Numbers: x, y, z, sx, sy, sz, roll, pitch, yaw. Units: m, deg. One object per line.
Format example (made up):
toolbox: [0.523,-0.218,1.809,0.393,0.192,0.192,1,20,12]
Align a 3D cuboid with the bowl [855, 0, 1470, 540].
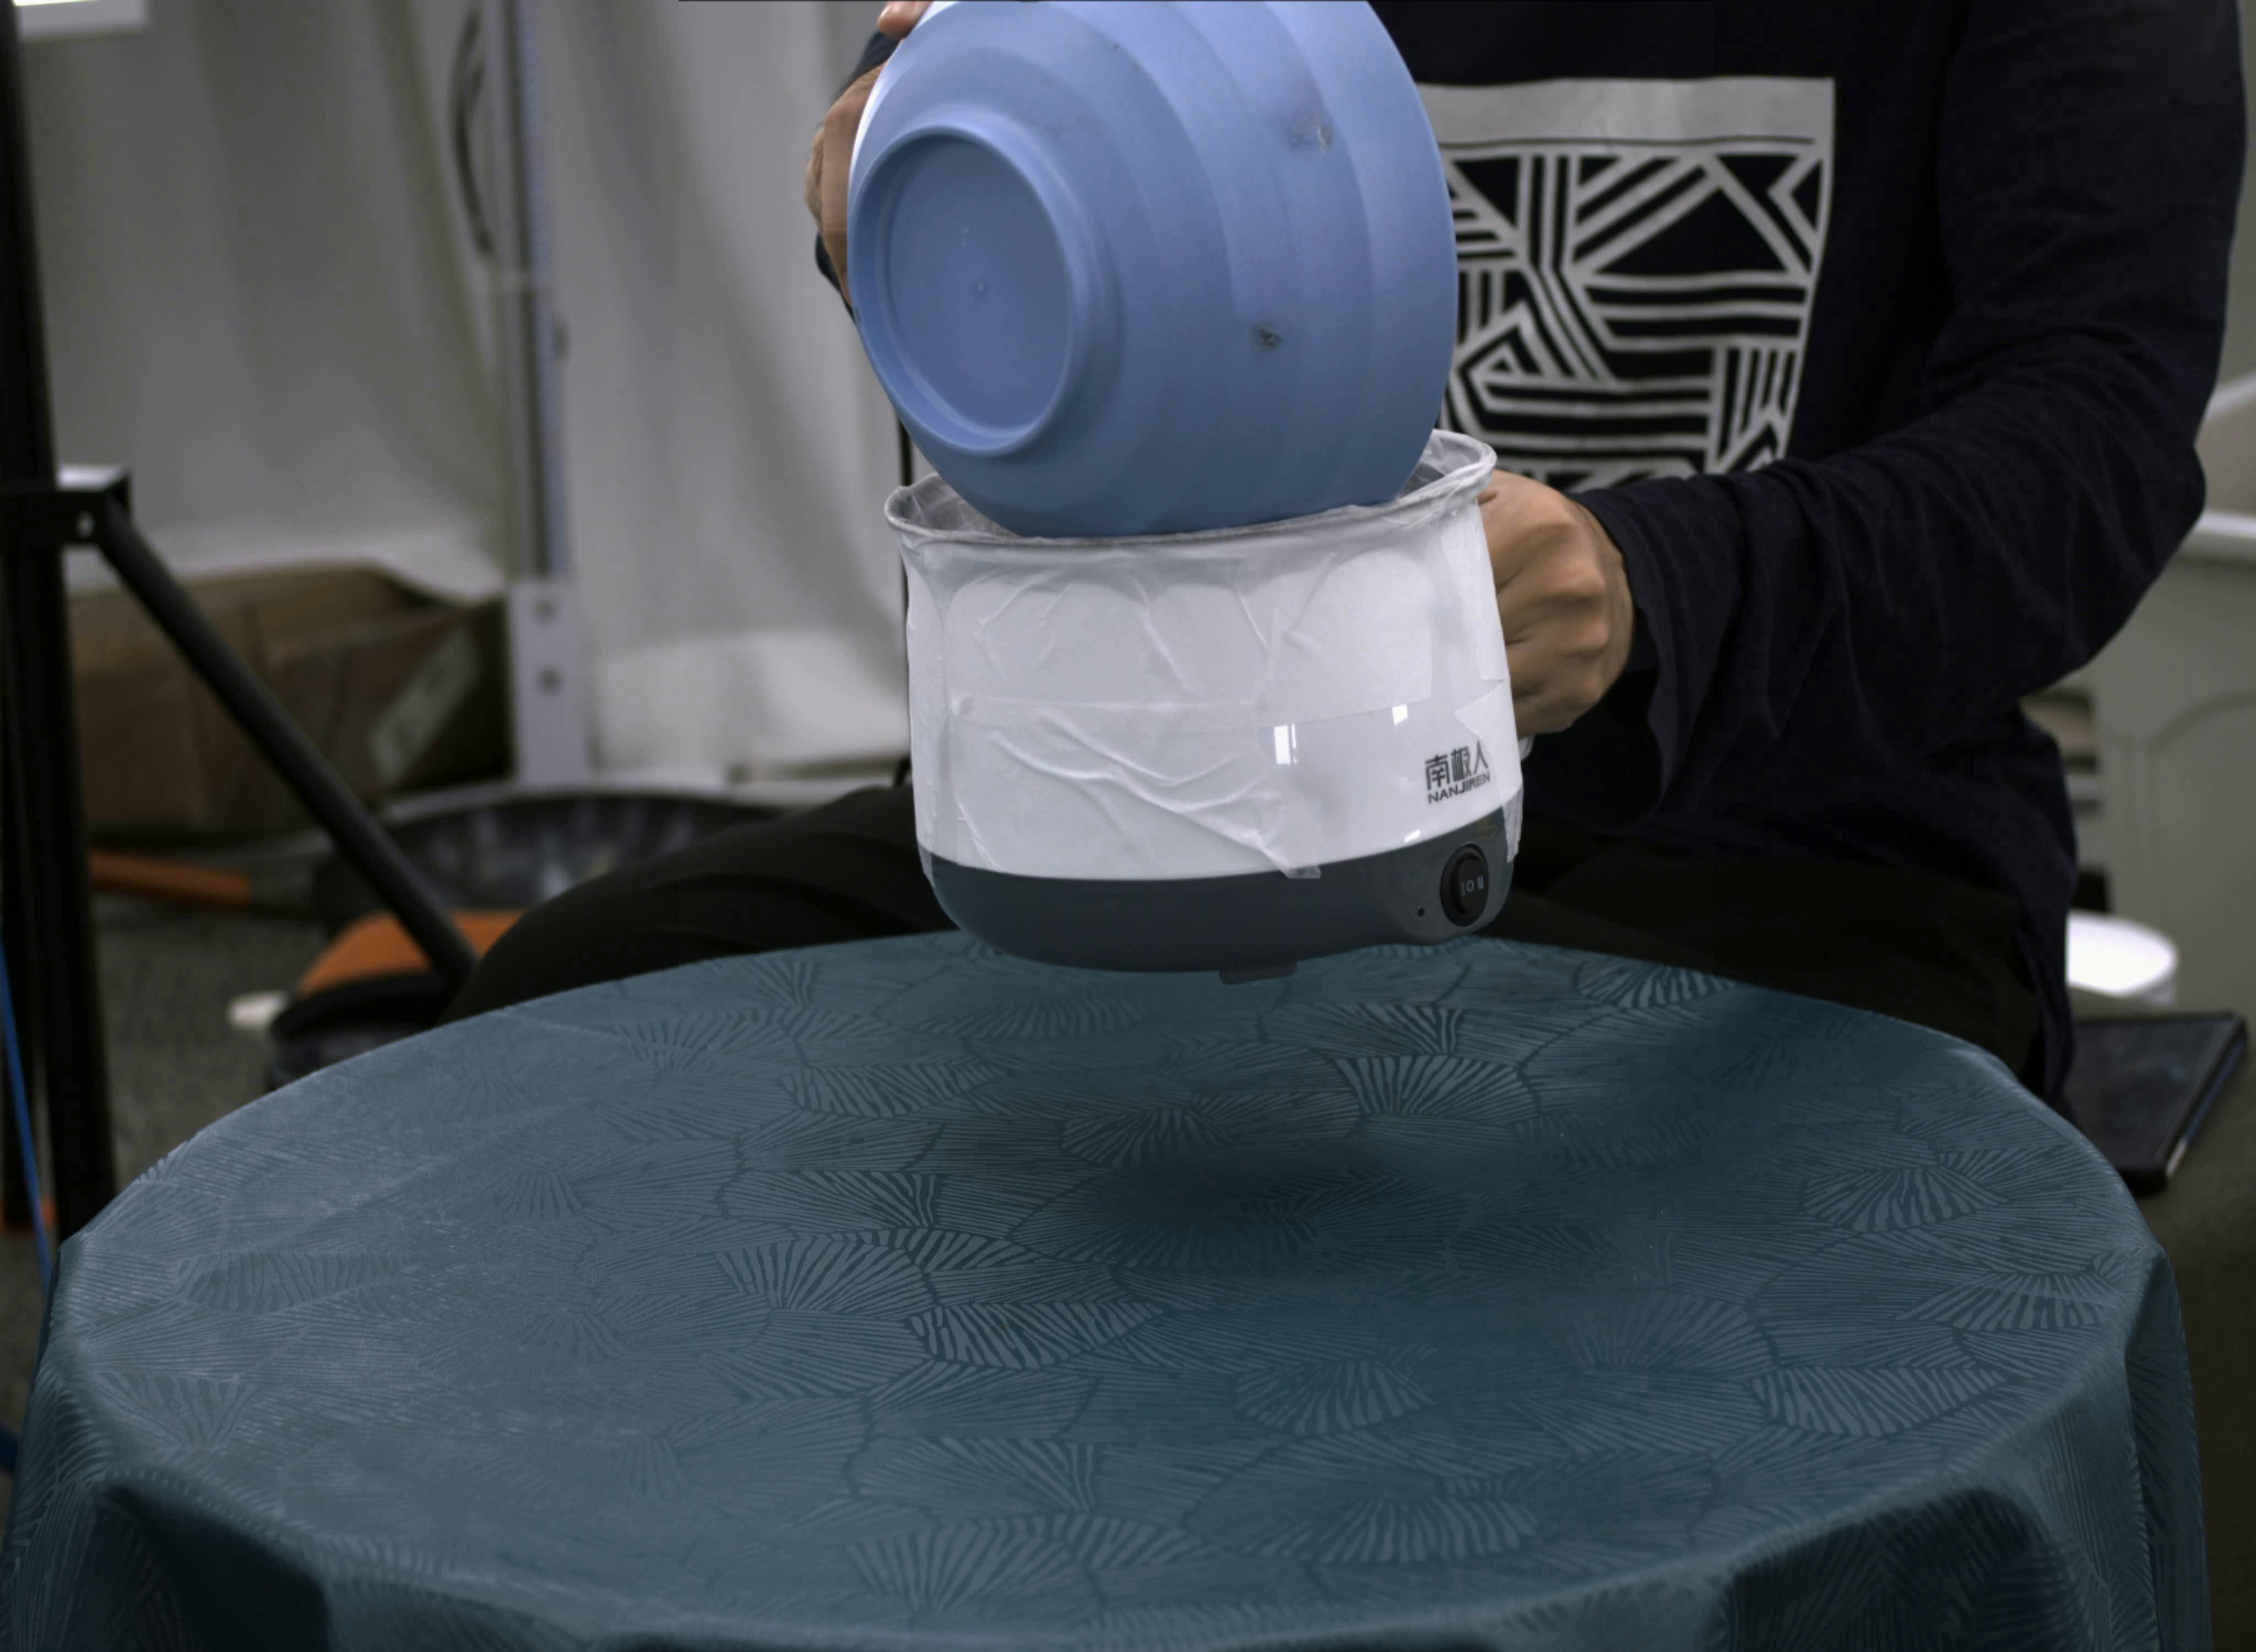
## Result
bowl: [-0.010,-0.157,1.464,0.093,0.196,0.201,-21,24,-39]

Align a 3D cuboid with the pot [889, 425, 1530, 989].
pot: [0.040,-0.045,1.557,0.182,0.136,0.229,8,19,37]
